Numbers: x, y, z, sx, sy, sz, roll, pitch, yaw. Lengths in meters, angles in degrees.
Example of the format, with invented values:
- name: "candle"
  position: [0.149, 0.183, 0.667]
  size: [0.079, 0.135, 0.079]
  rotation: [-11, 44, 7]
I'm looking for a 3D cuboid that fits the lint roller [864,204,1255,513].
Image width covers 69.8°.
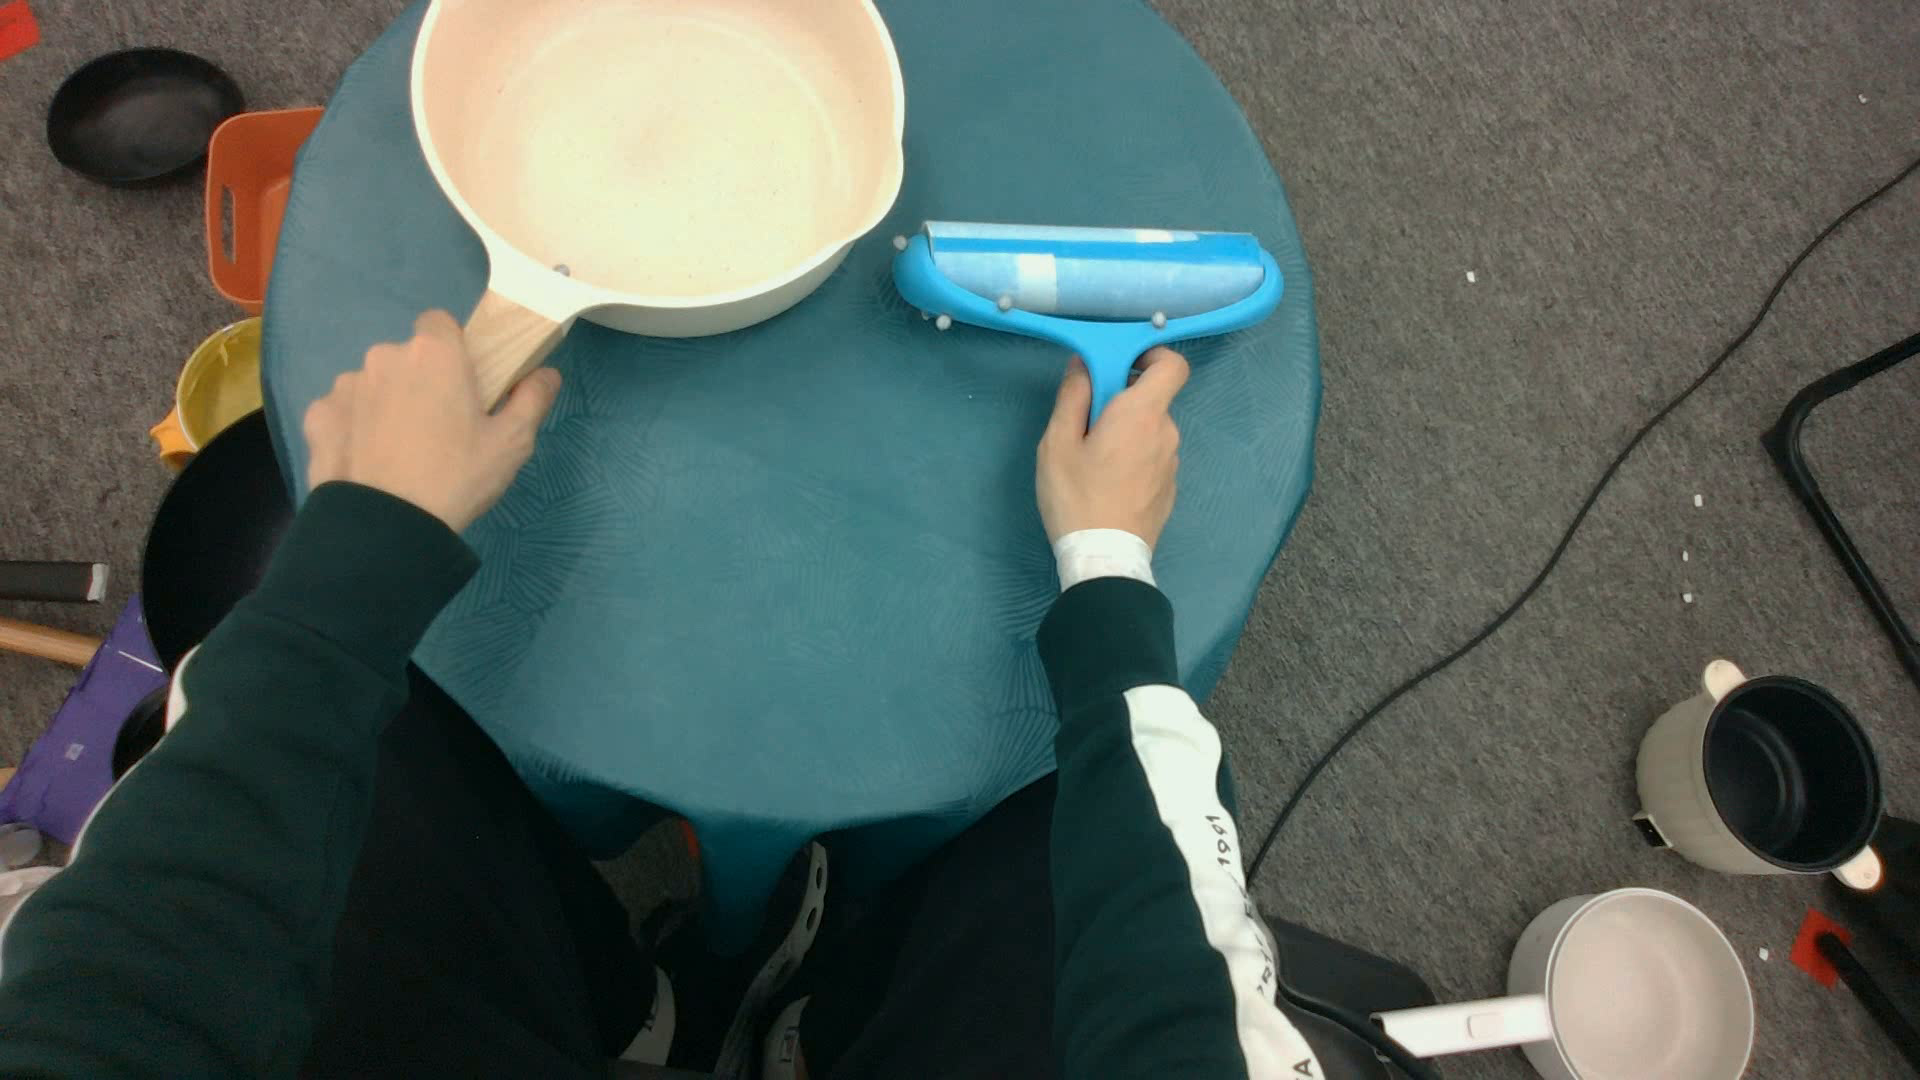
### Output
- name: "lint roller"
  position: [0.066, -0.110, 0.778]
  size: [0.229, 0.067, 0.180]
  rotation: [-3, 72, -13]

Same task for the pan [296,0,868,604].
- name: "pan"
  position: [-0.213, -0.156, 0.719]
  size: [0.263, 0.101, 0.436]
  rotation: [25, 72, -4]
